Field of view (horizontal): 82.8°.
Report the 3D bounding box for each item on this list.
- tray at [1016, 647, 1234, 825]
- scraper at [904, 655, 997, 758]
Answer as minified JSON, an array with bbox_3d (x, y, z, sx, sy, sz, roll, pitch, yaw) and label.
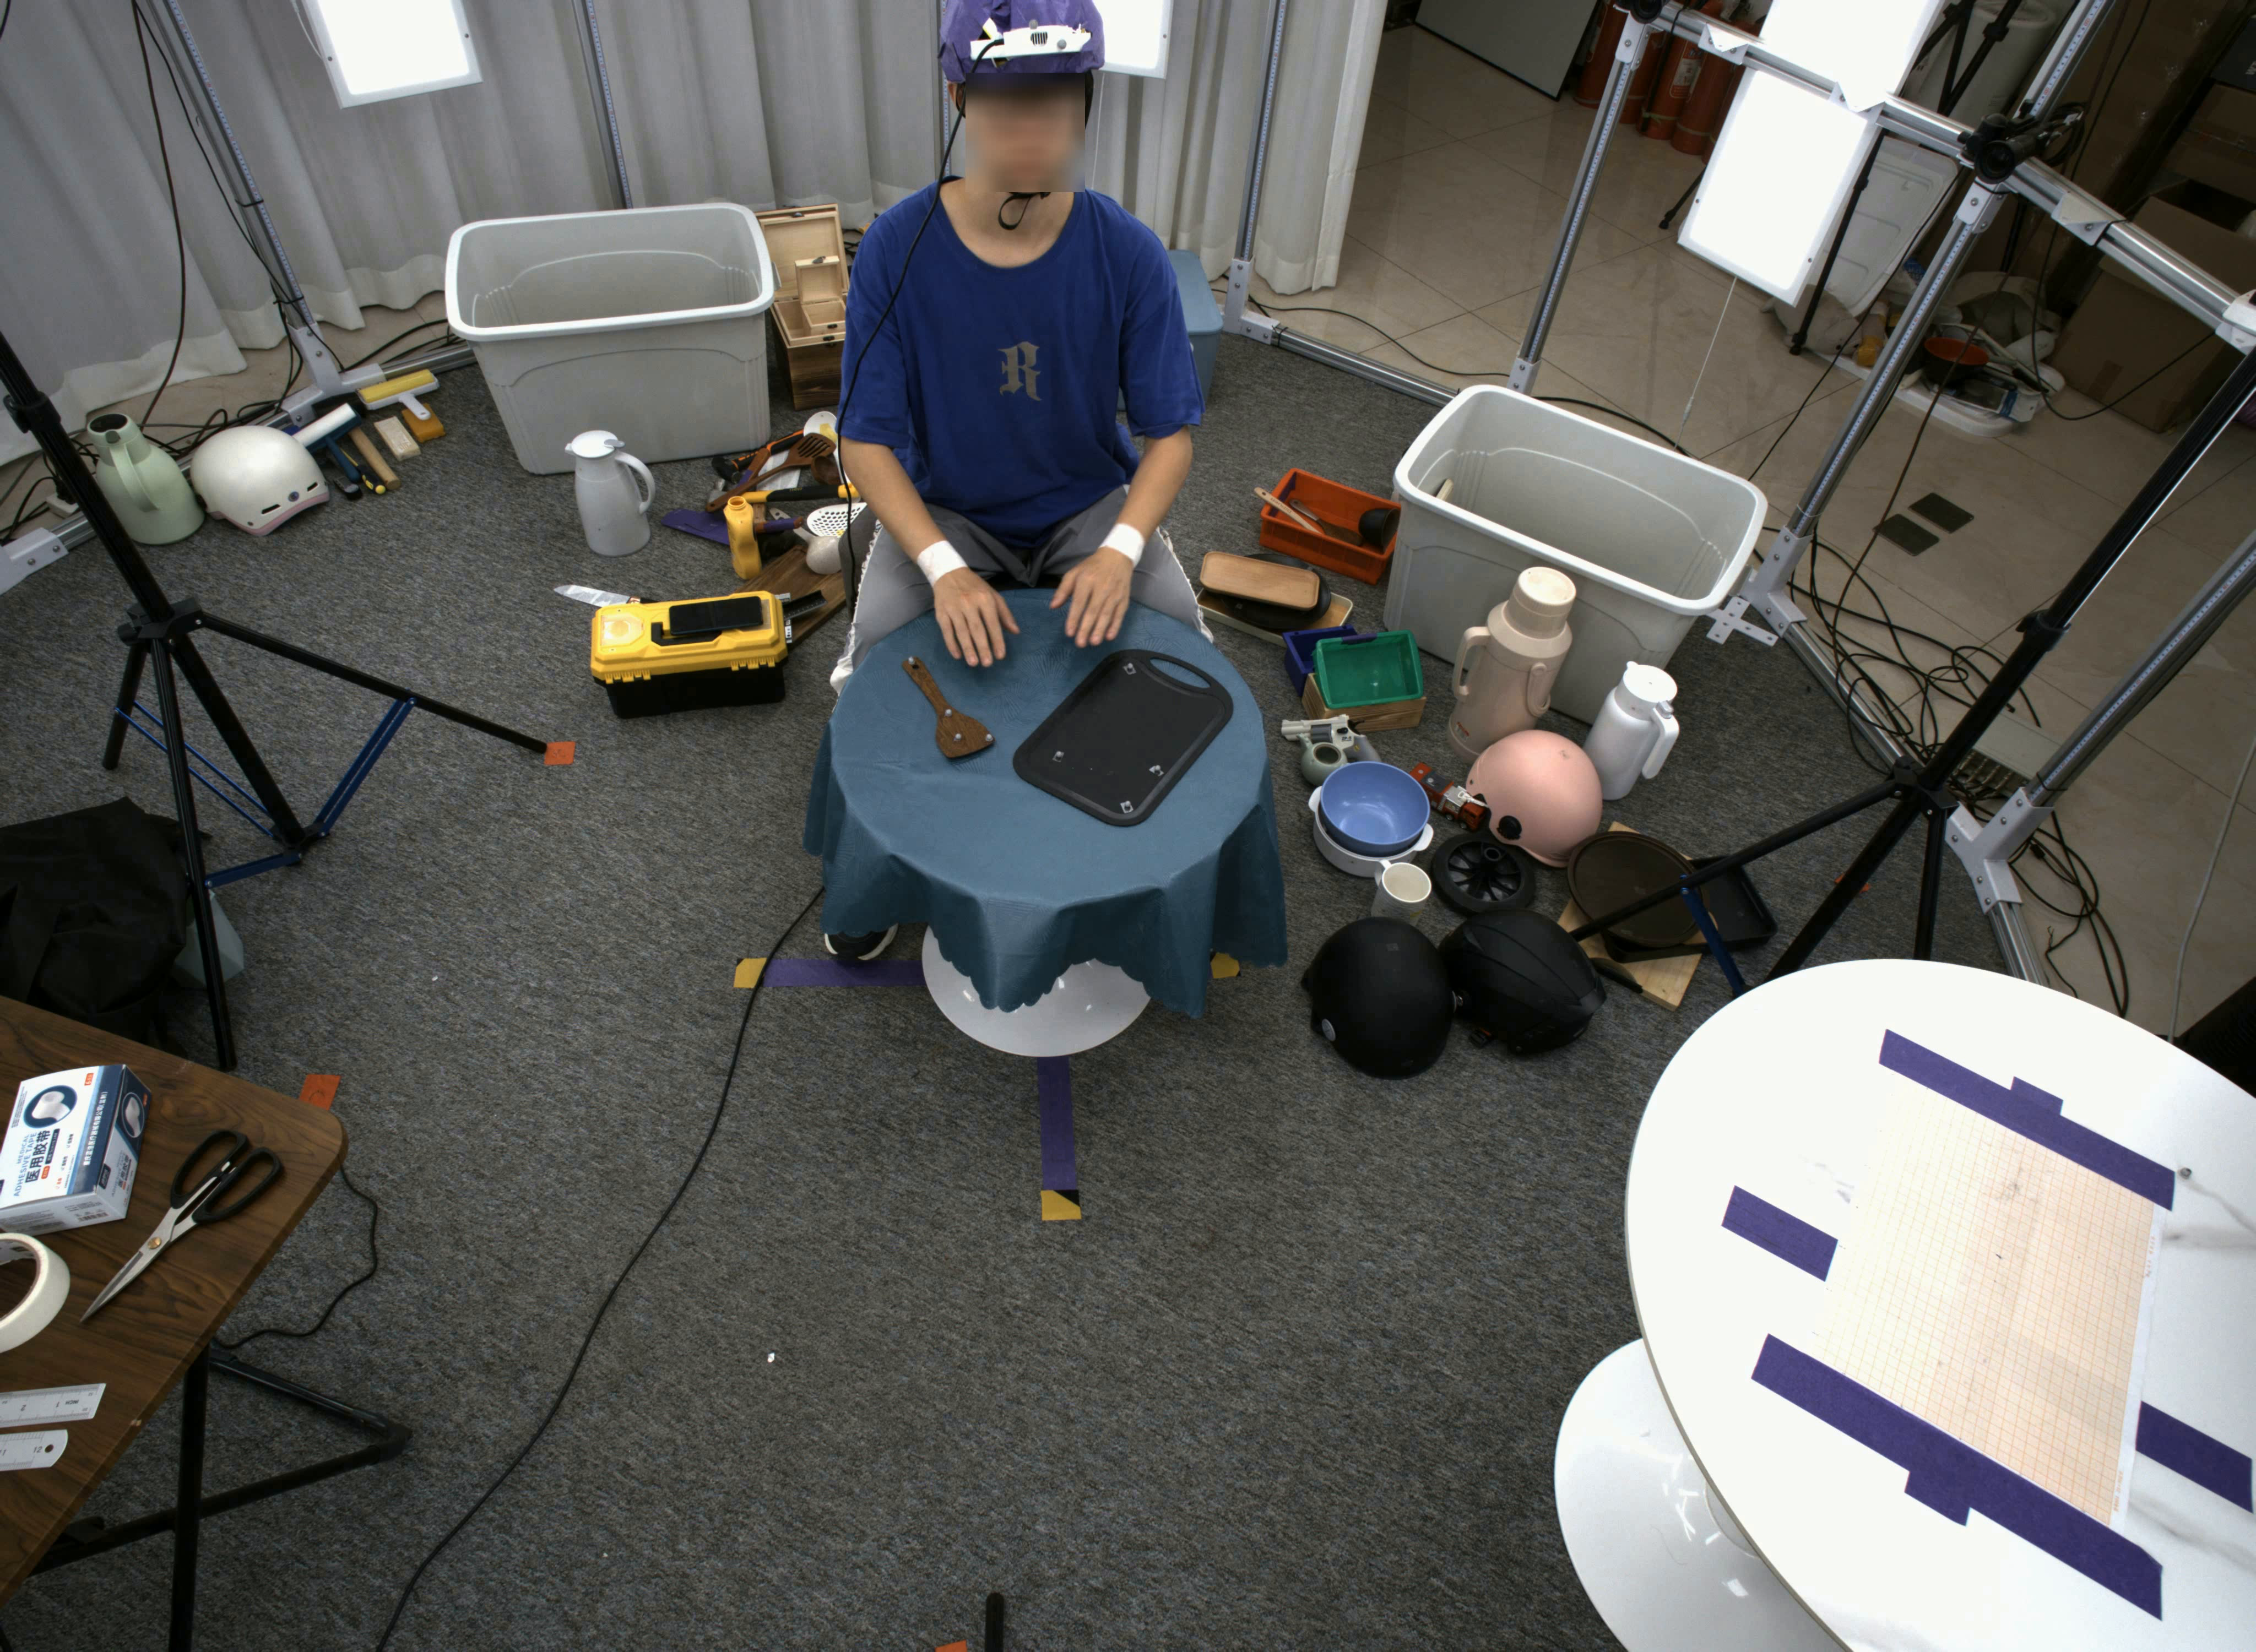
[{"bbox_3d":[0.003,-0.140,1.789,0.213,0.009,0.330,27,53,19],"label":"tray"},{"bbox_3d":[-0.259,-0.171,1.798,0.076,0.010,0.216,-21,54,-21],"label":"scraper"}]
